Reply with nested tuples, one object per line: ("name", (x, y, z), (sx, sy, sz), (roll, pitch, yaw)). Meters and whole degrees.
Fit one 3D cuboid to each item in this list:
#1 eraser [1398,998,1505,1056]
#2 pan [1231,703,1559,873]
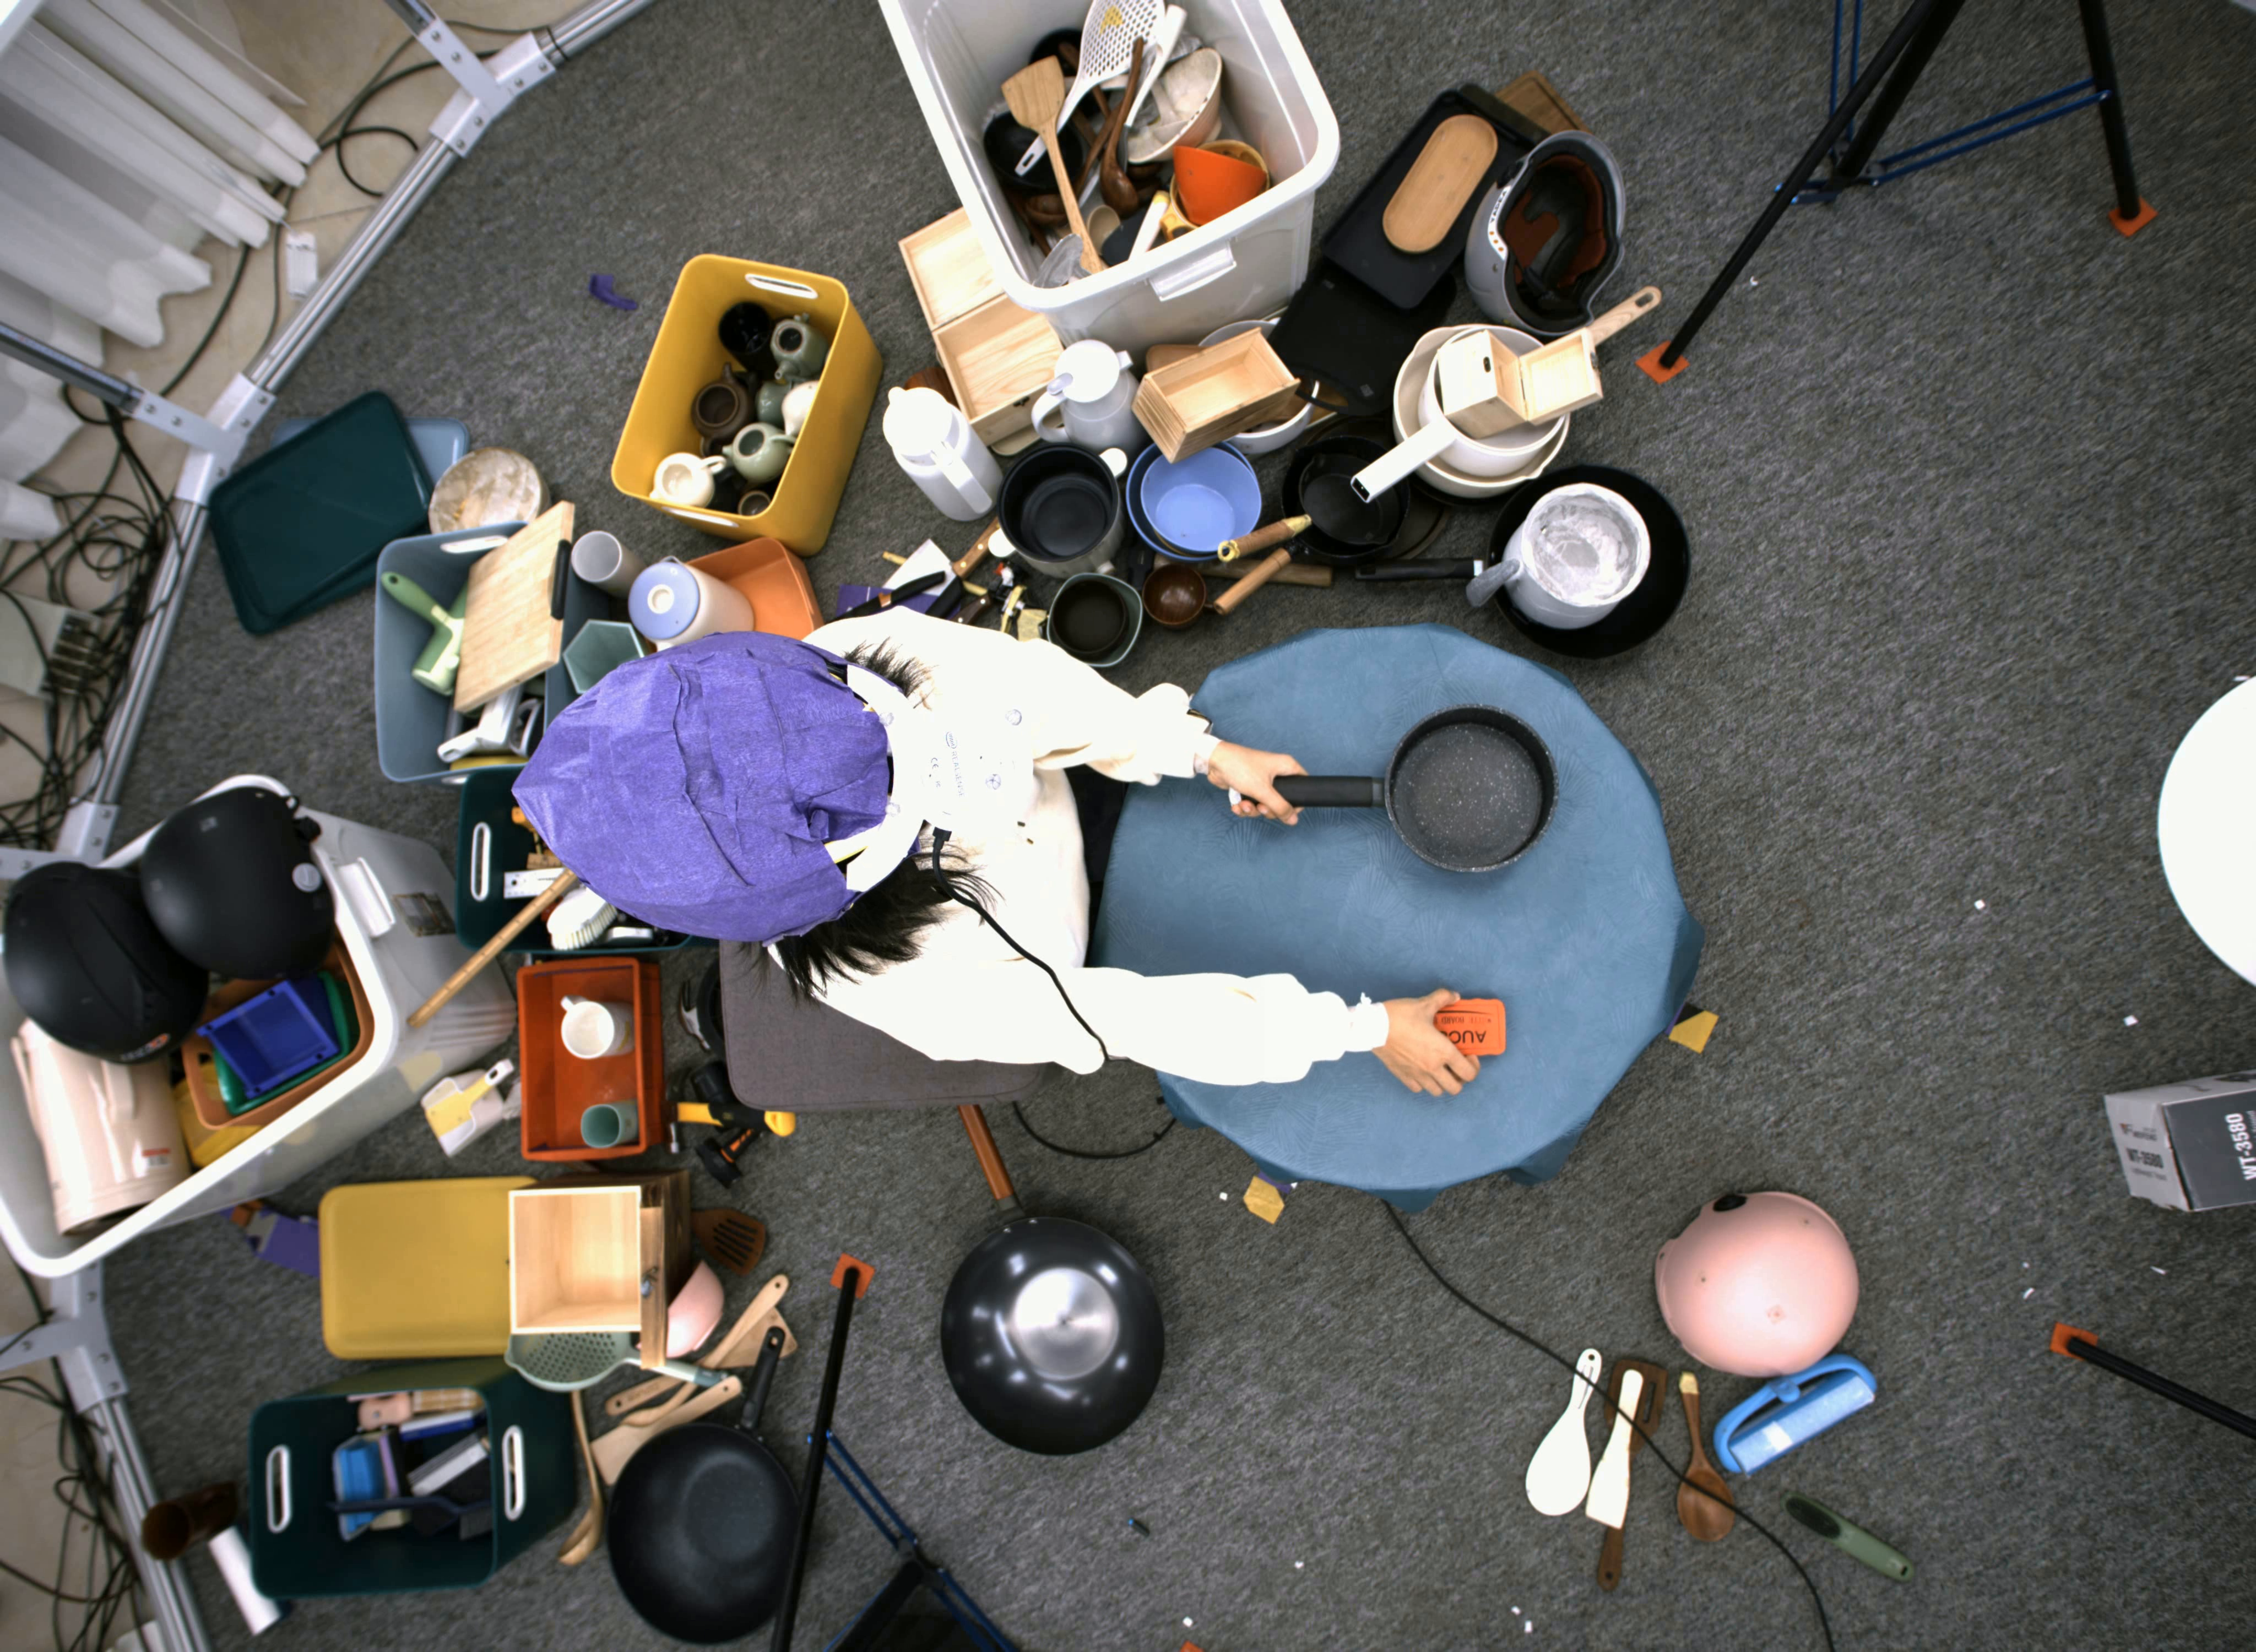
("eraser", (0.334, 0.206, 1.429), (0.108, 0.023, 0.059), (-1, 87, 10))
("pan", (0.271, -0.040, 1.423), (0.330, 0.086, 0.171), (2, 87, 9))
